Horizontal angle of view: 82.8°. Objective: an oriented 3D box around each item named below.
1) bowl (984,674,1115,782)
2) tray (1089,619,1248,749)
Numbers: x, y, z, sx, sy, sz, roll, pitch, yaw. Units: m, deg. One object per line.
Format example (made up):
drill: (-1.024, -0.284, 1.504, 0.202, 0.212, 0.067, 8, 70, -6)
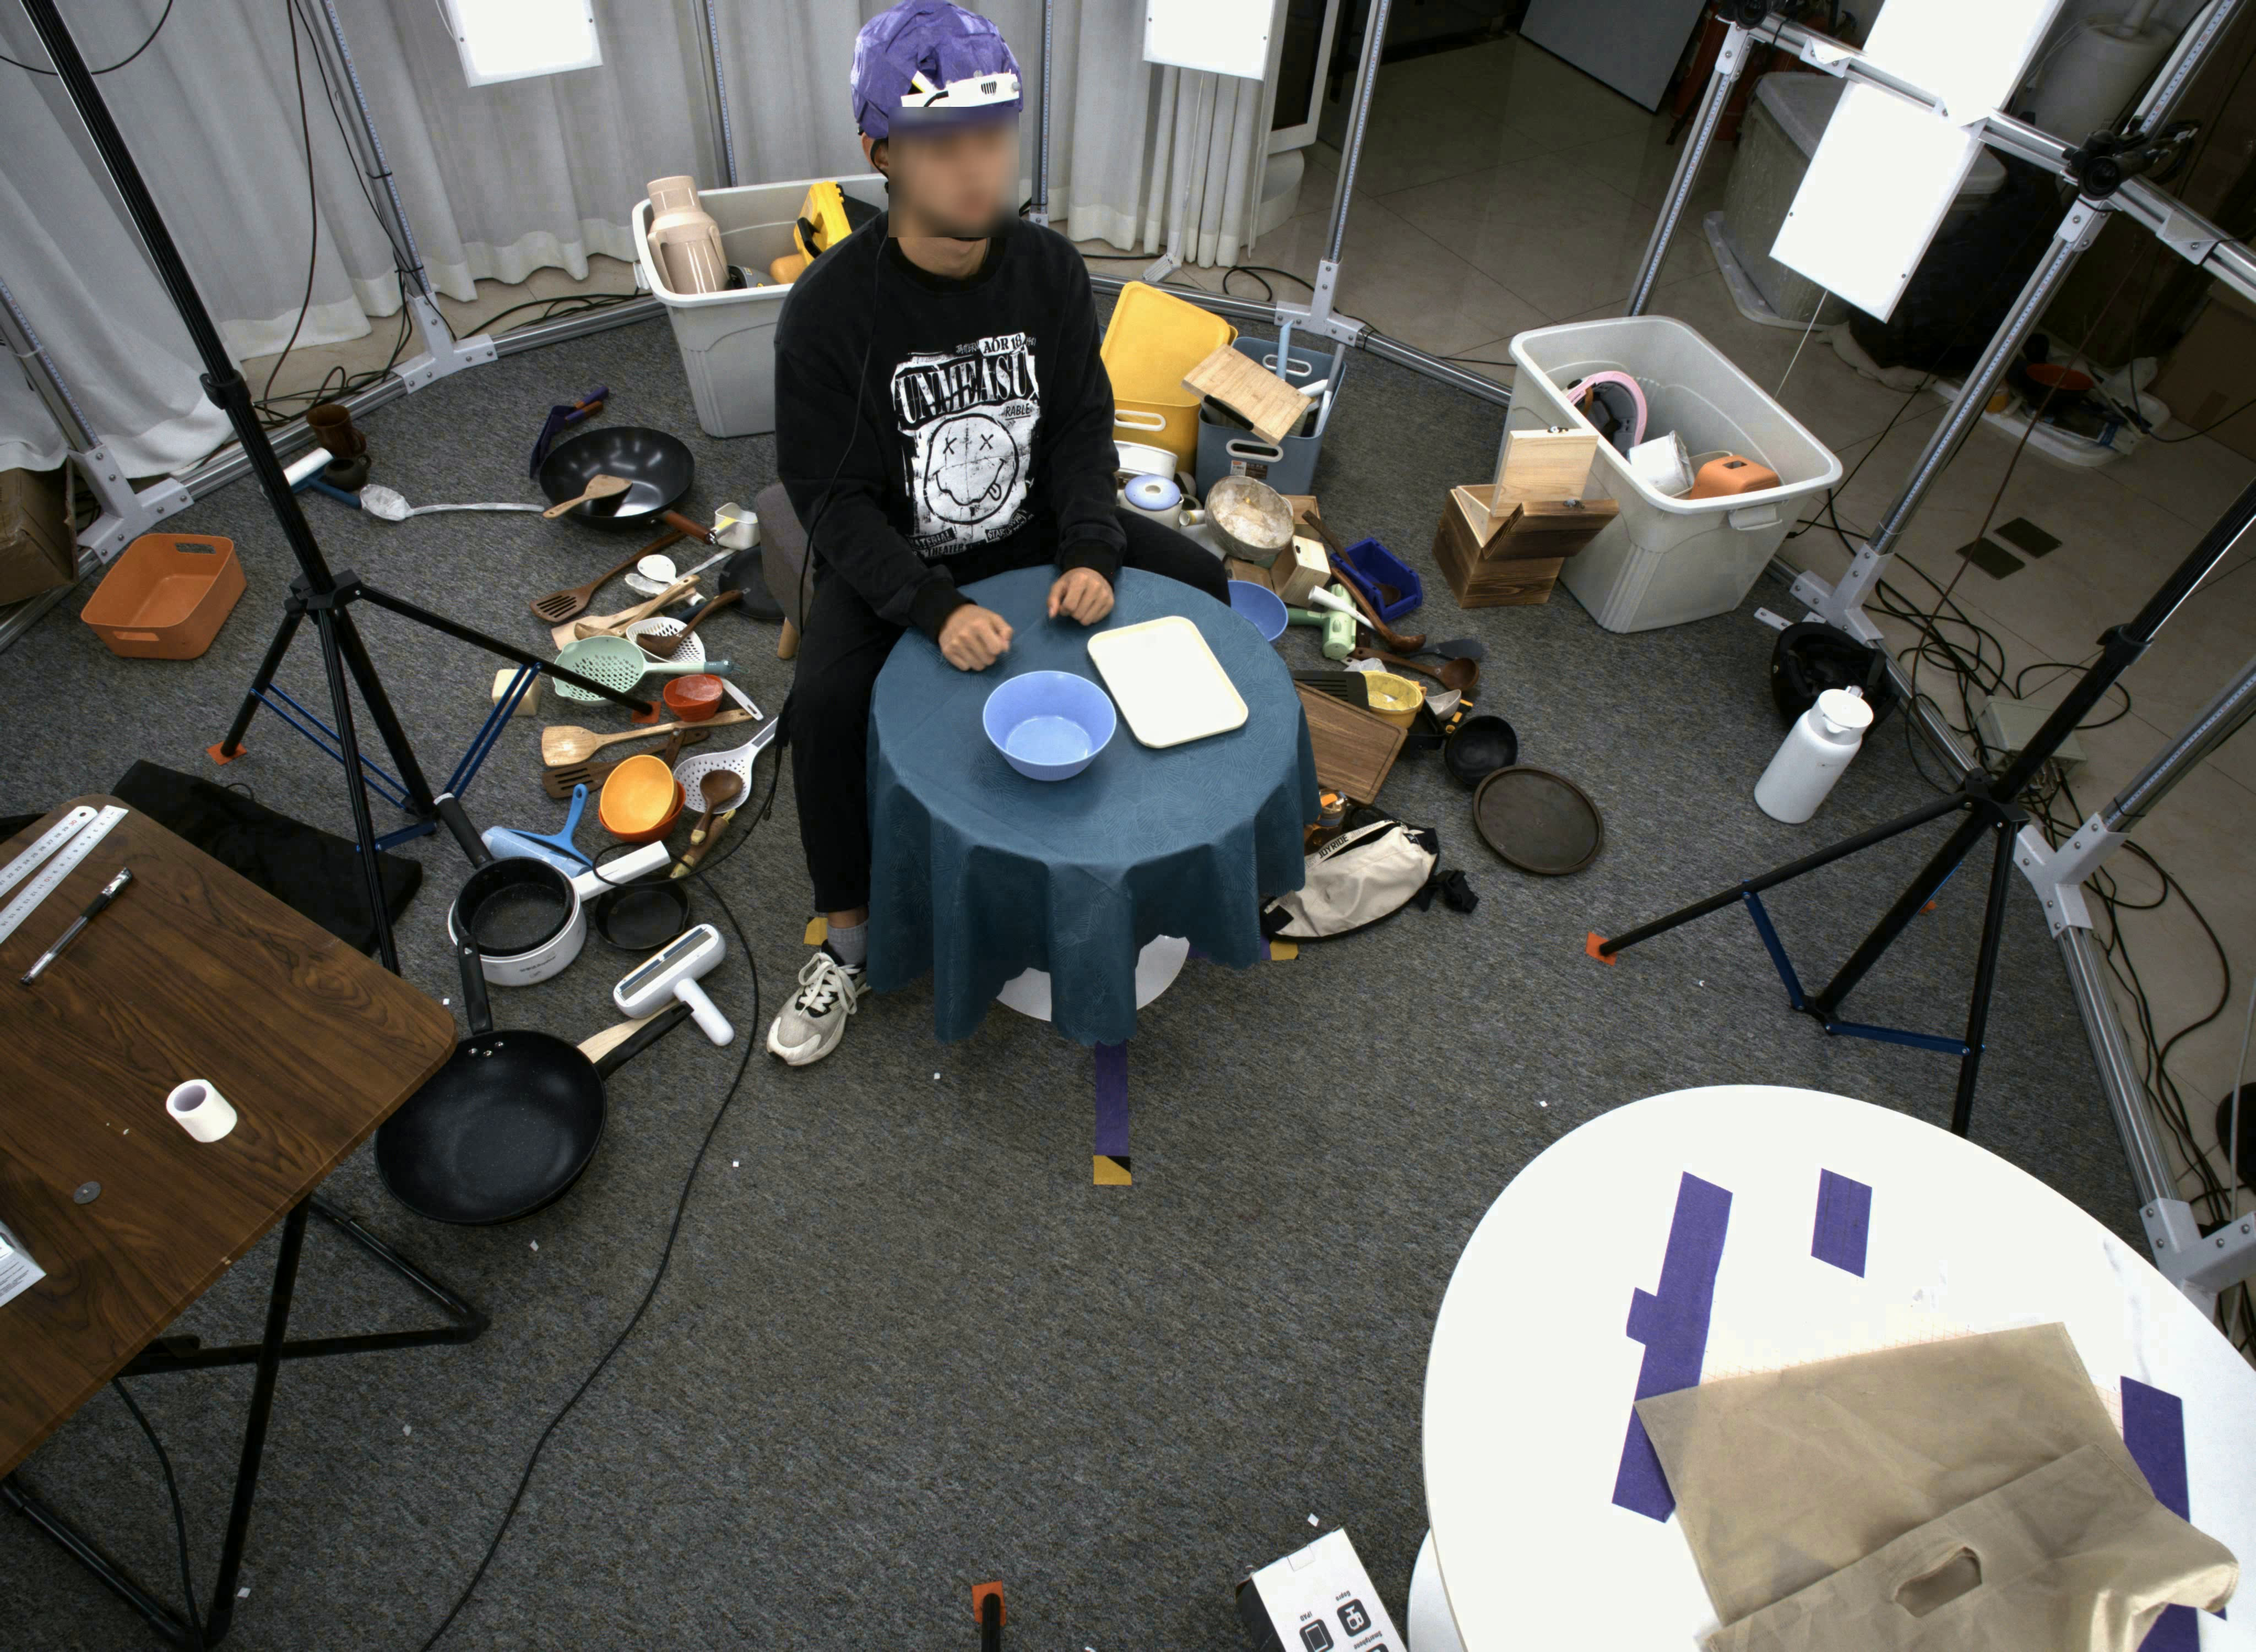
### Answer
bowl: (-0.106, -0.124, 1.739, 0.176, 0.068, 0.180, 2, 48, -3)
tray: (0.056, -0.207, 1.857, 0.171, 0.017, 0.245, -14, 51, -17)
